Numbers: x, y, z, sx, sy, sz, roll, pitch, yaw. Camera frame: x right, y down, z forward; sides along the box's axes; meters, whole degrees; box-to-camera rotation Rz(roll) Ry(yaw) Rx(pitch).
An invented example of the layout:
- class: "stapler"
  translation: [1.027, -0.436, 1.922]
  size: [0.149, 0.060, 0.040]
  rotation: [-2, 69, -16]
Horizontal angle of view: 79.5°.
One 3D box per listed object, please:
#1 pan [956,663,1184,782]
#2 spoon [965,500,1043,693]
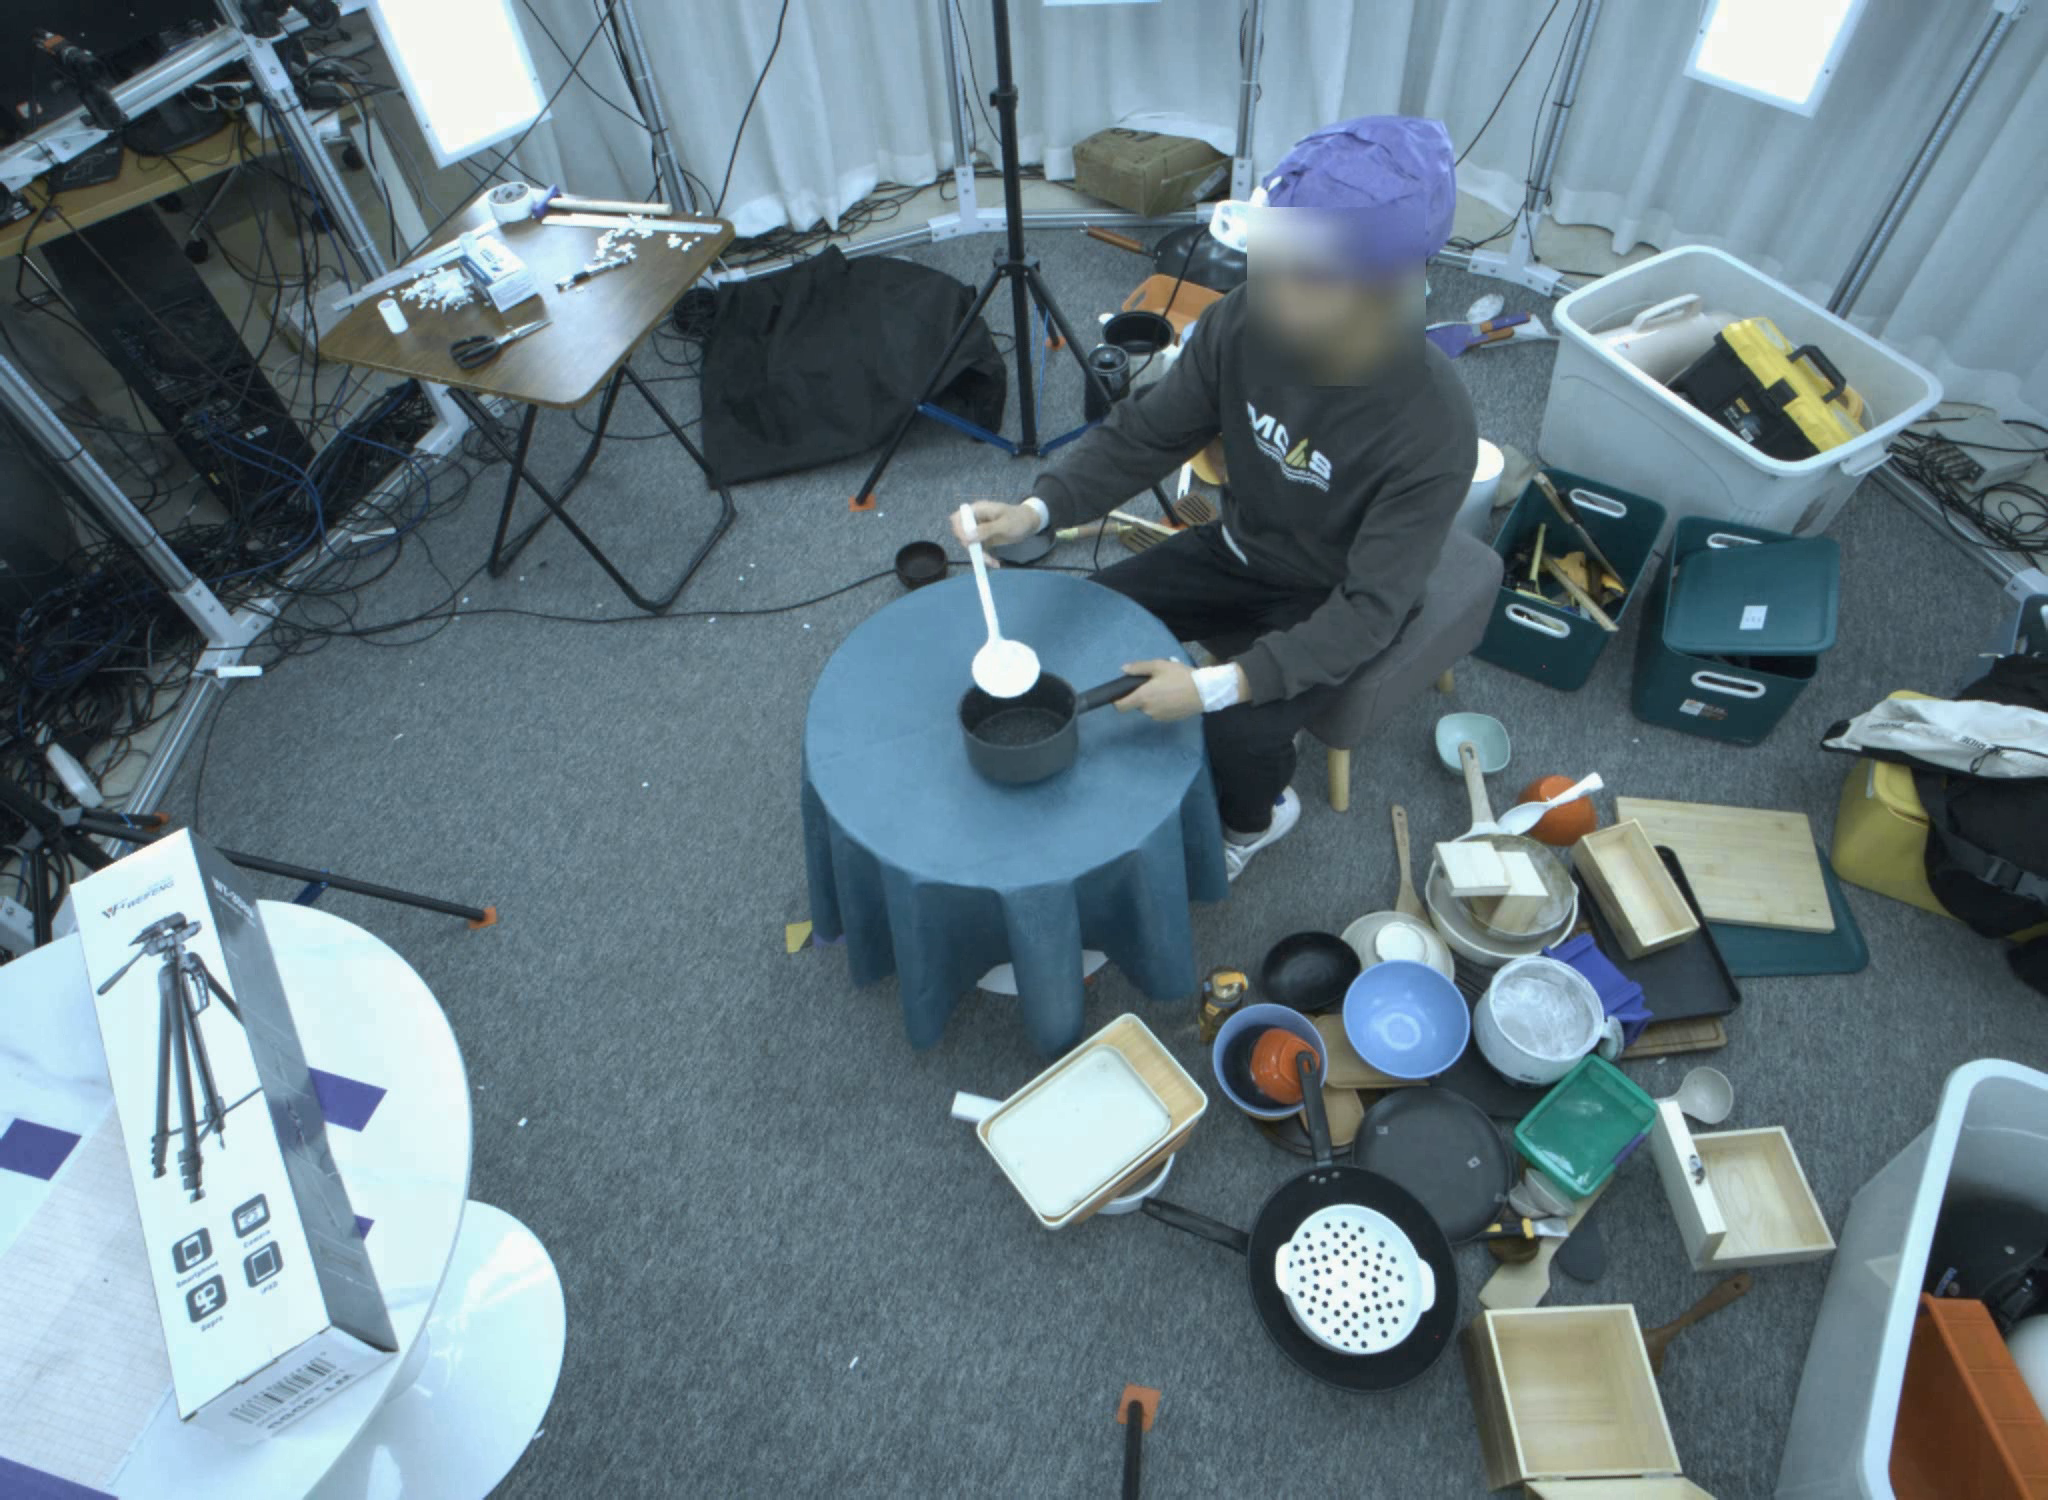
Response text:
- class: "pan"
  translation: [0.070, -0.054, 1.766]
  size: [0.330, 0.087, 0.169]
  rotation: [-13, 45, -7]
- class: "spoon"
  translation: [-0.042, -0.217, 1.715]
  size: [0.101, 0.059, 0.278]
  rotation: [-13, 97, -11]
